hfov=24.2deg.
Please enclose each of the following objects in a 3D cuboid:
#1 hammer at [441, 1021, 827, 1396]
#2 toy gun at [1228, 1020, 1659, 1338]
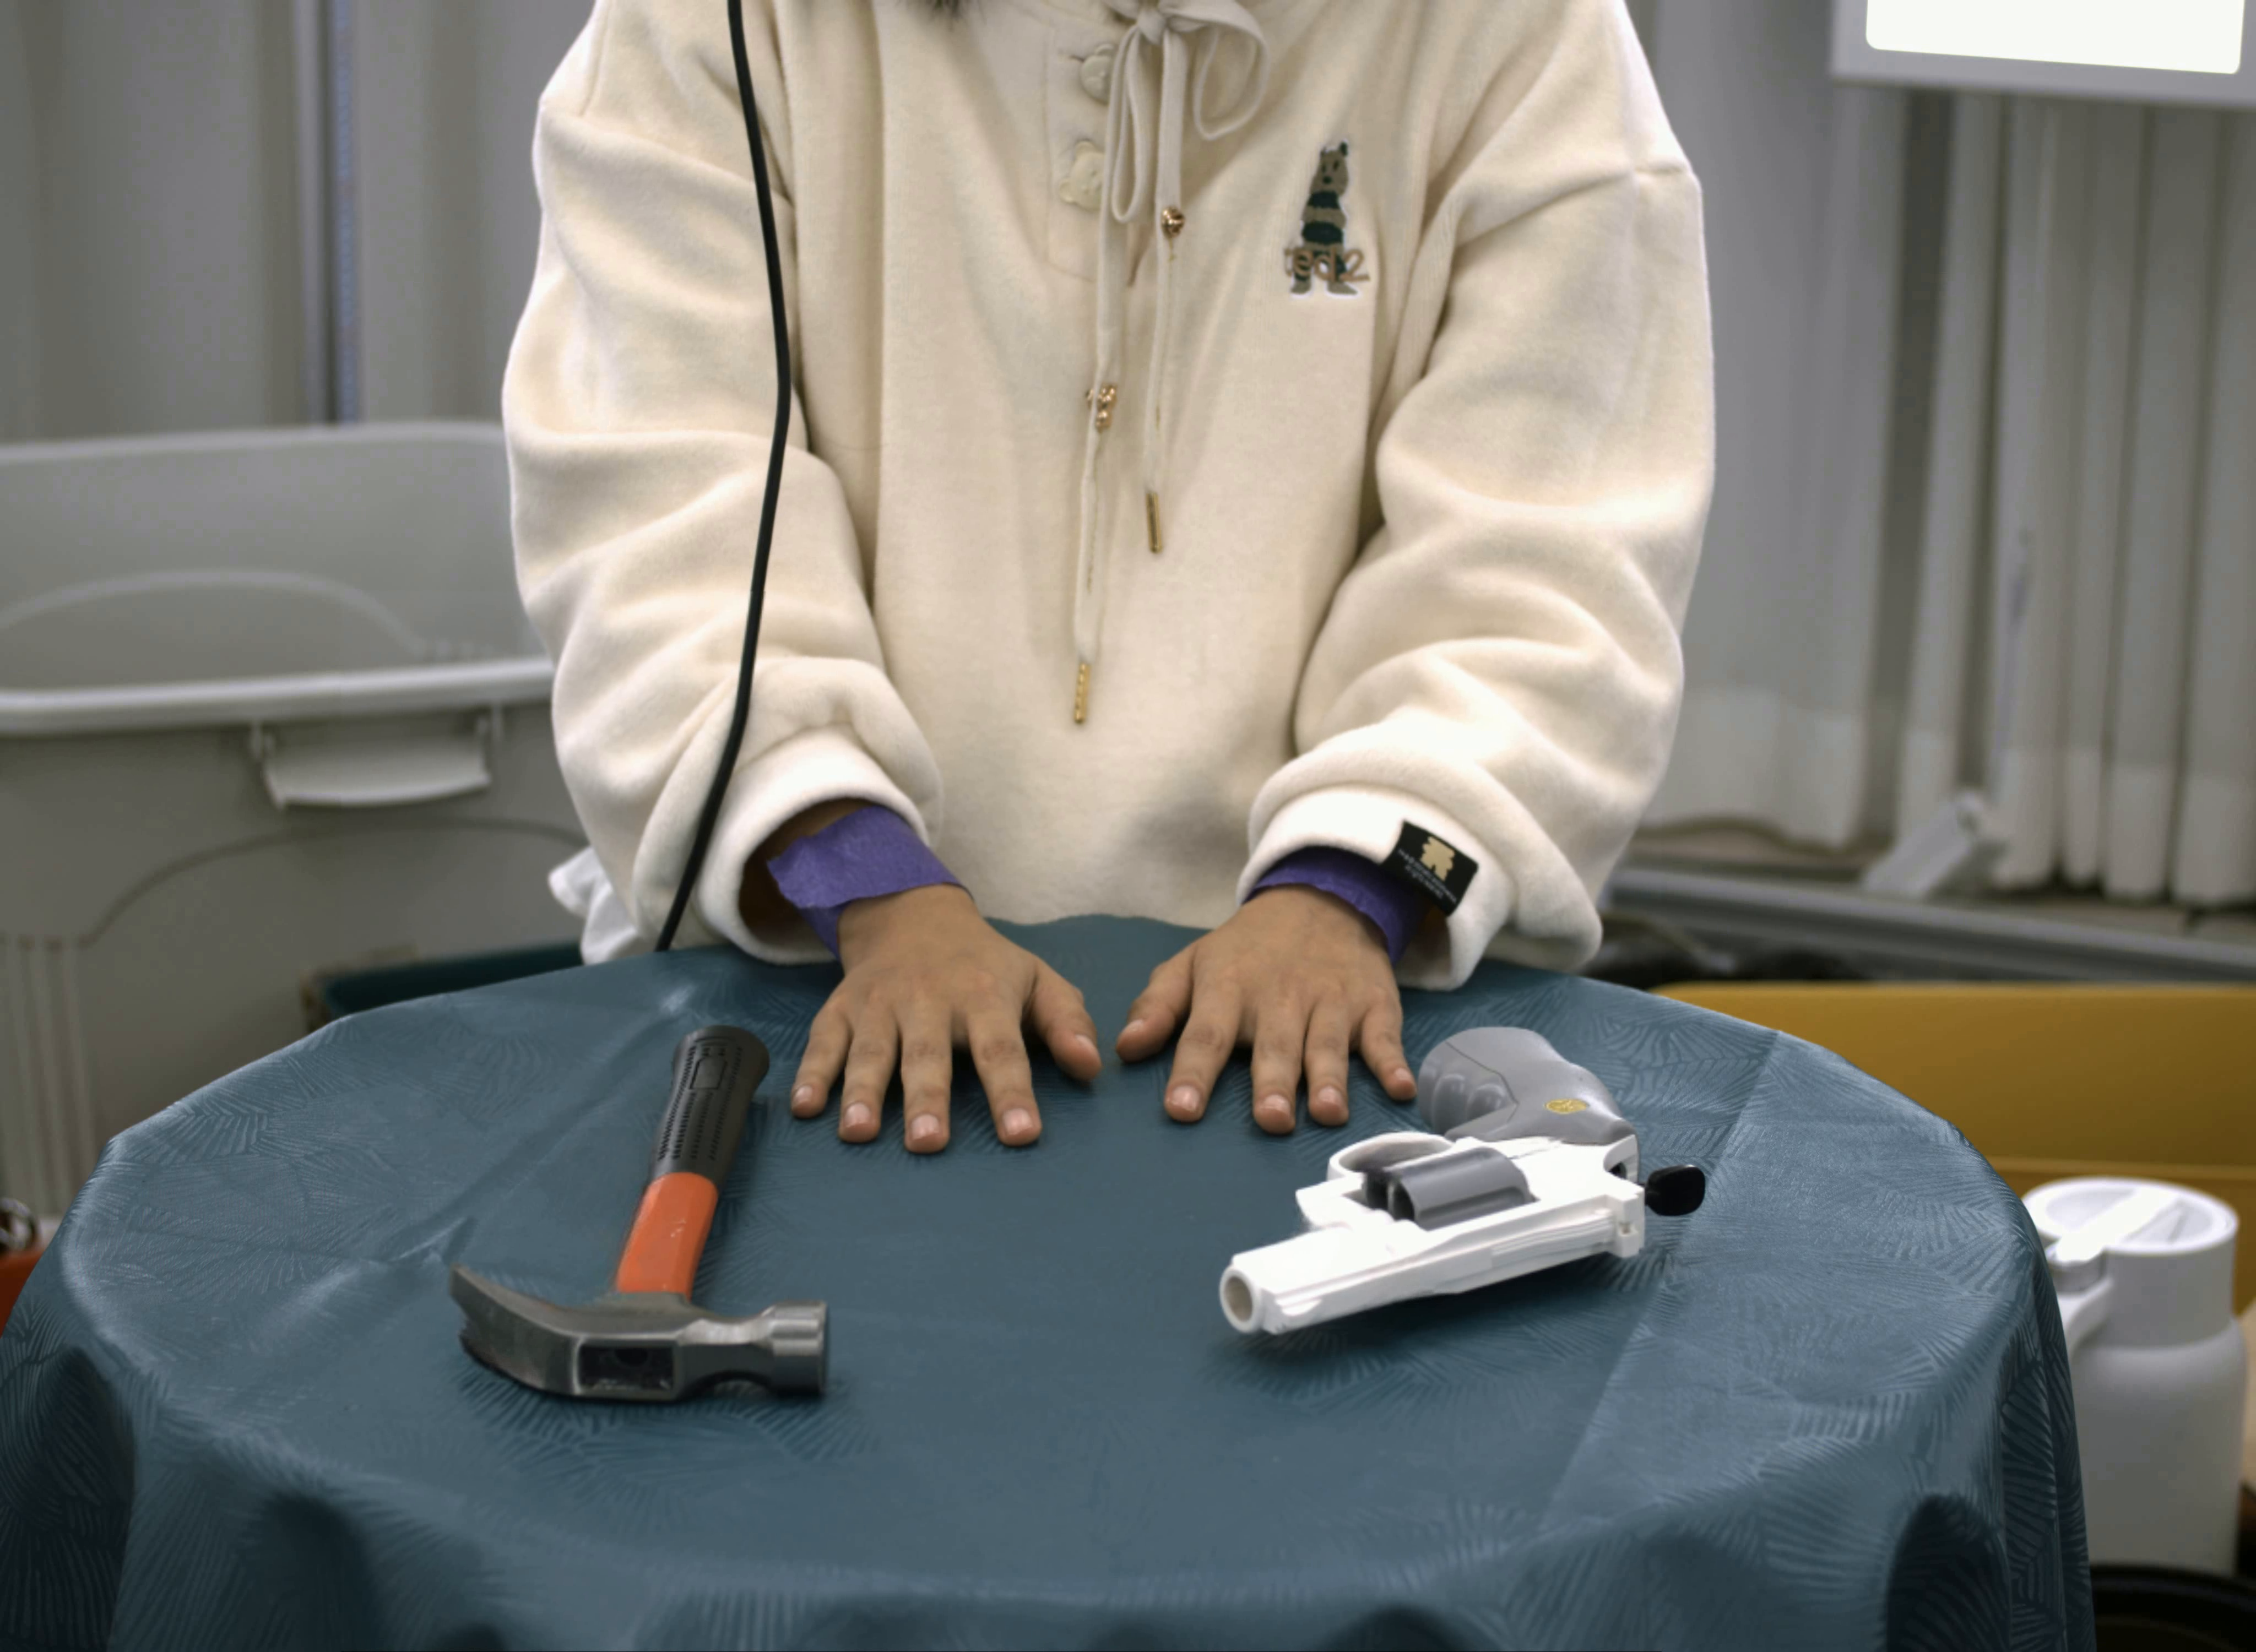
[{"bbox_3d":[-0.136,0.110,1.573,0.110,0.026,0.276,-8,15,3],"label":"hammer"},{"bbox_3d":[0.087,0.105,1.574,0.210,0.039,0.140,-12,21,-37],"label":"toy gun"}]
